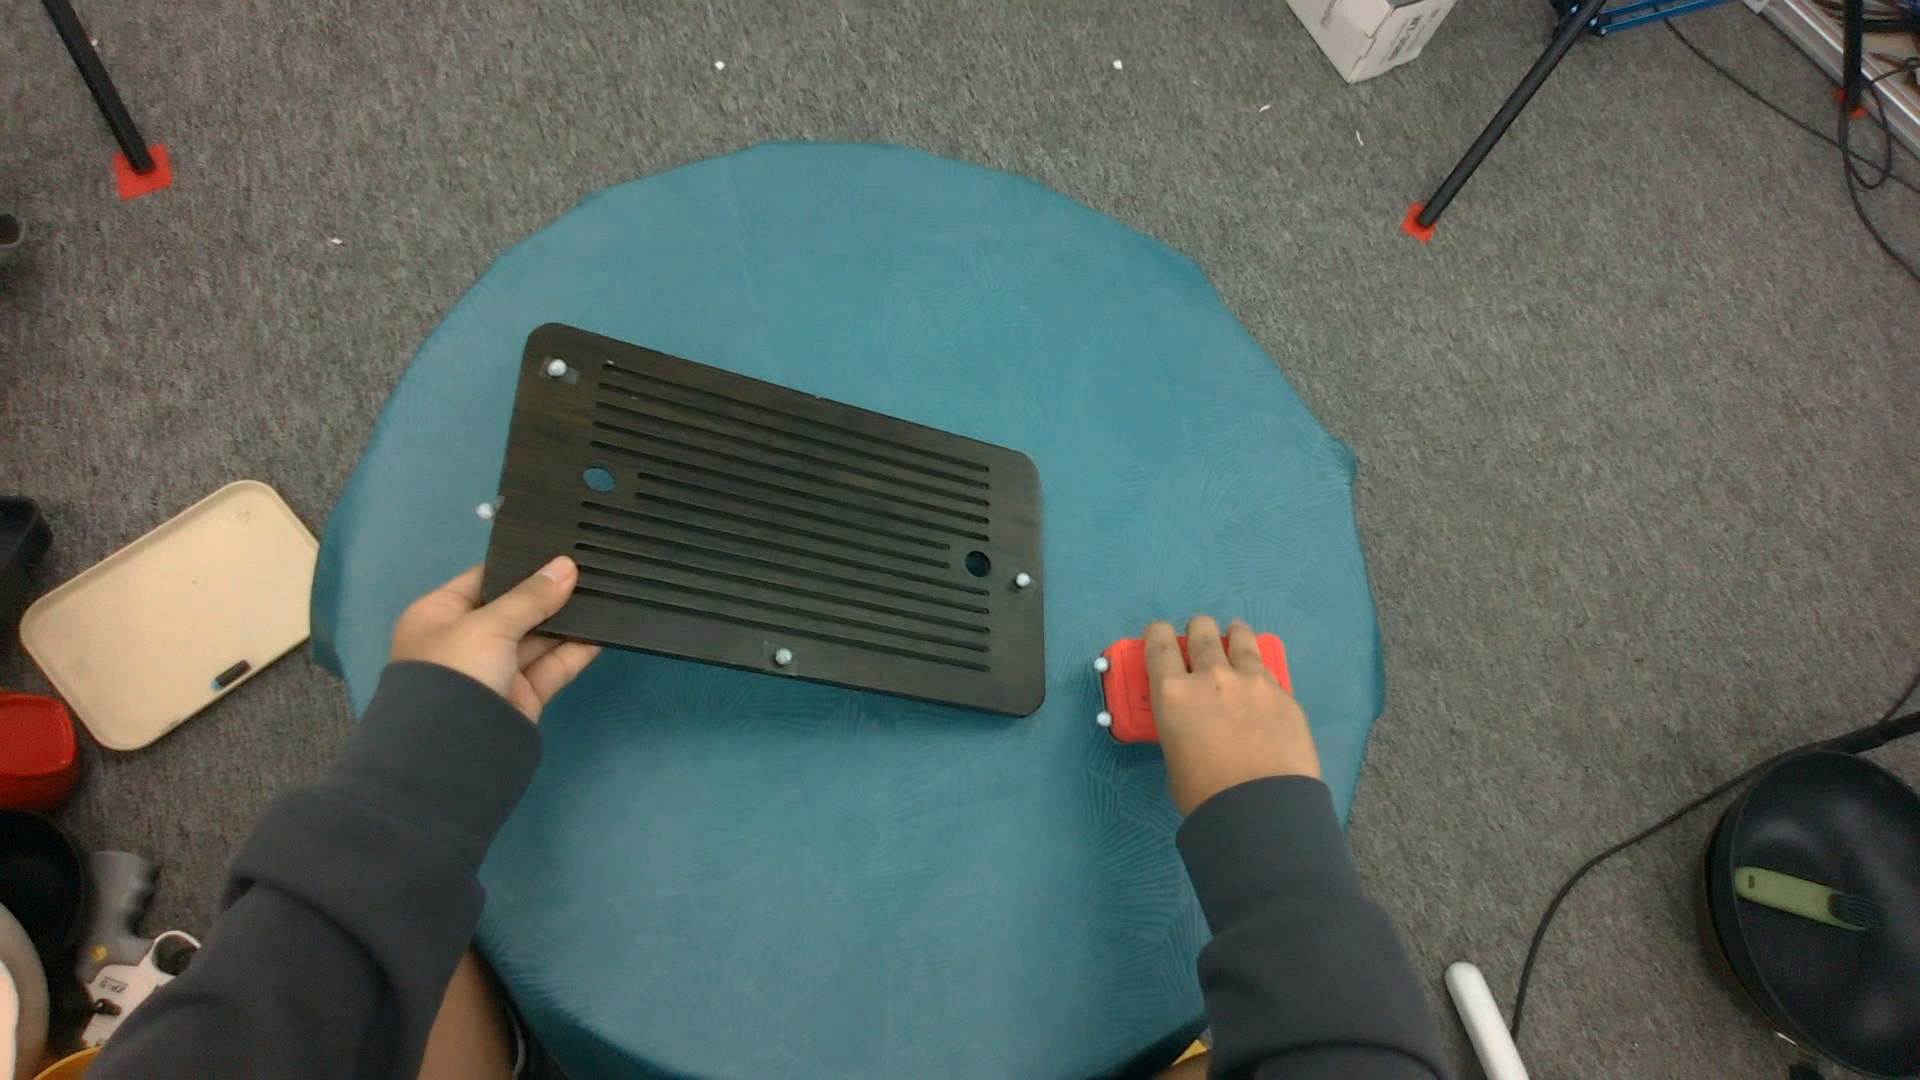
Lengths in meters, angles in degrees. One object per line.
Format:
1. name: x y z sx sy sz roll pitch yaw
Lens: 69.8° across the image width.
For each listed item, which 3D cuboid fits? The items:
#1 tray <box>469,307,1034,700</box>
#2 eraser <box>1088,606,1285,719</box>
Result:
1. tray: -0.096 -0.014 0.738 0.306 0.018 0.171 13 61 -26
2. eraser: 0.129 0.069 0.779 0.108 0.023 0.059 -1 72 -19
